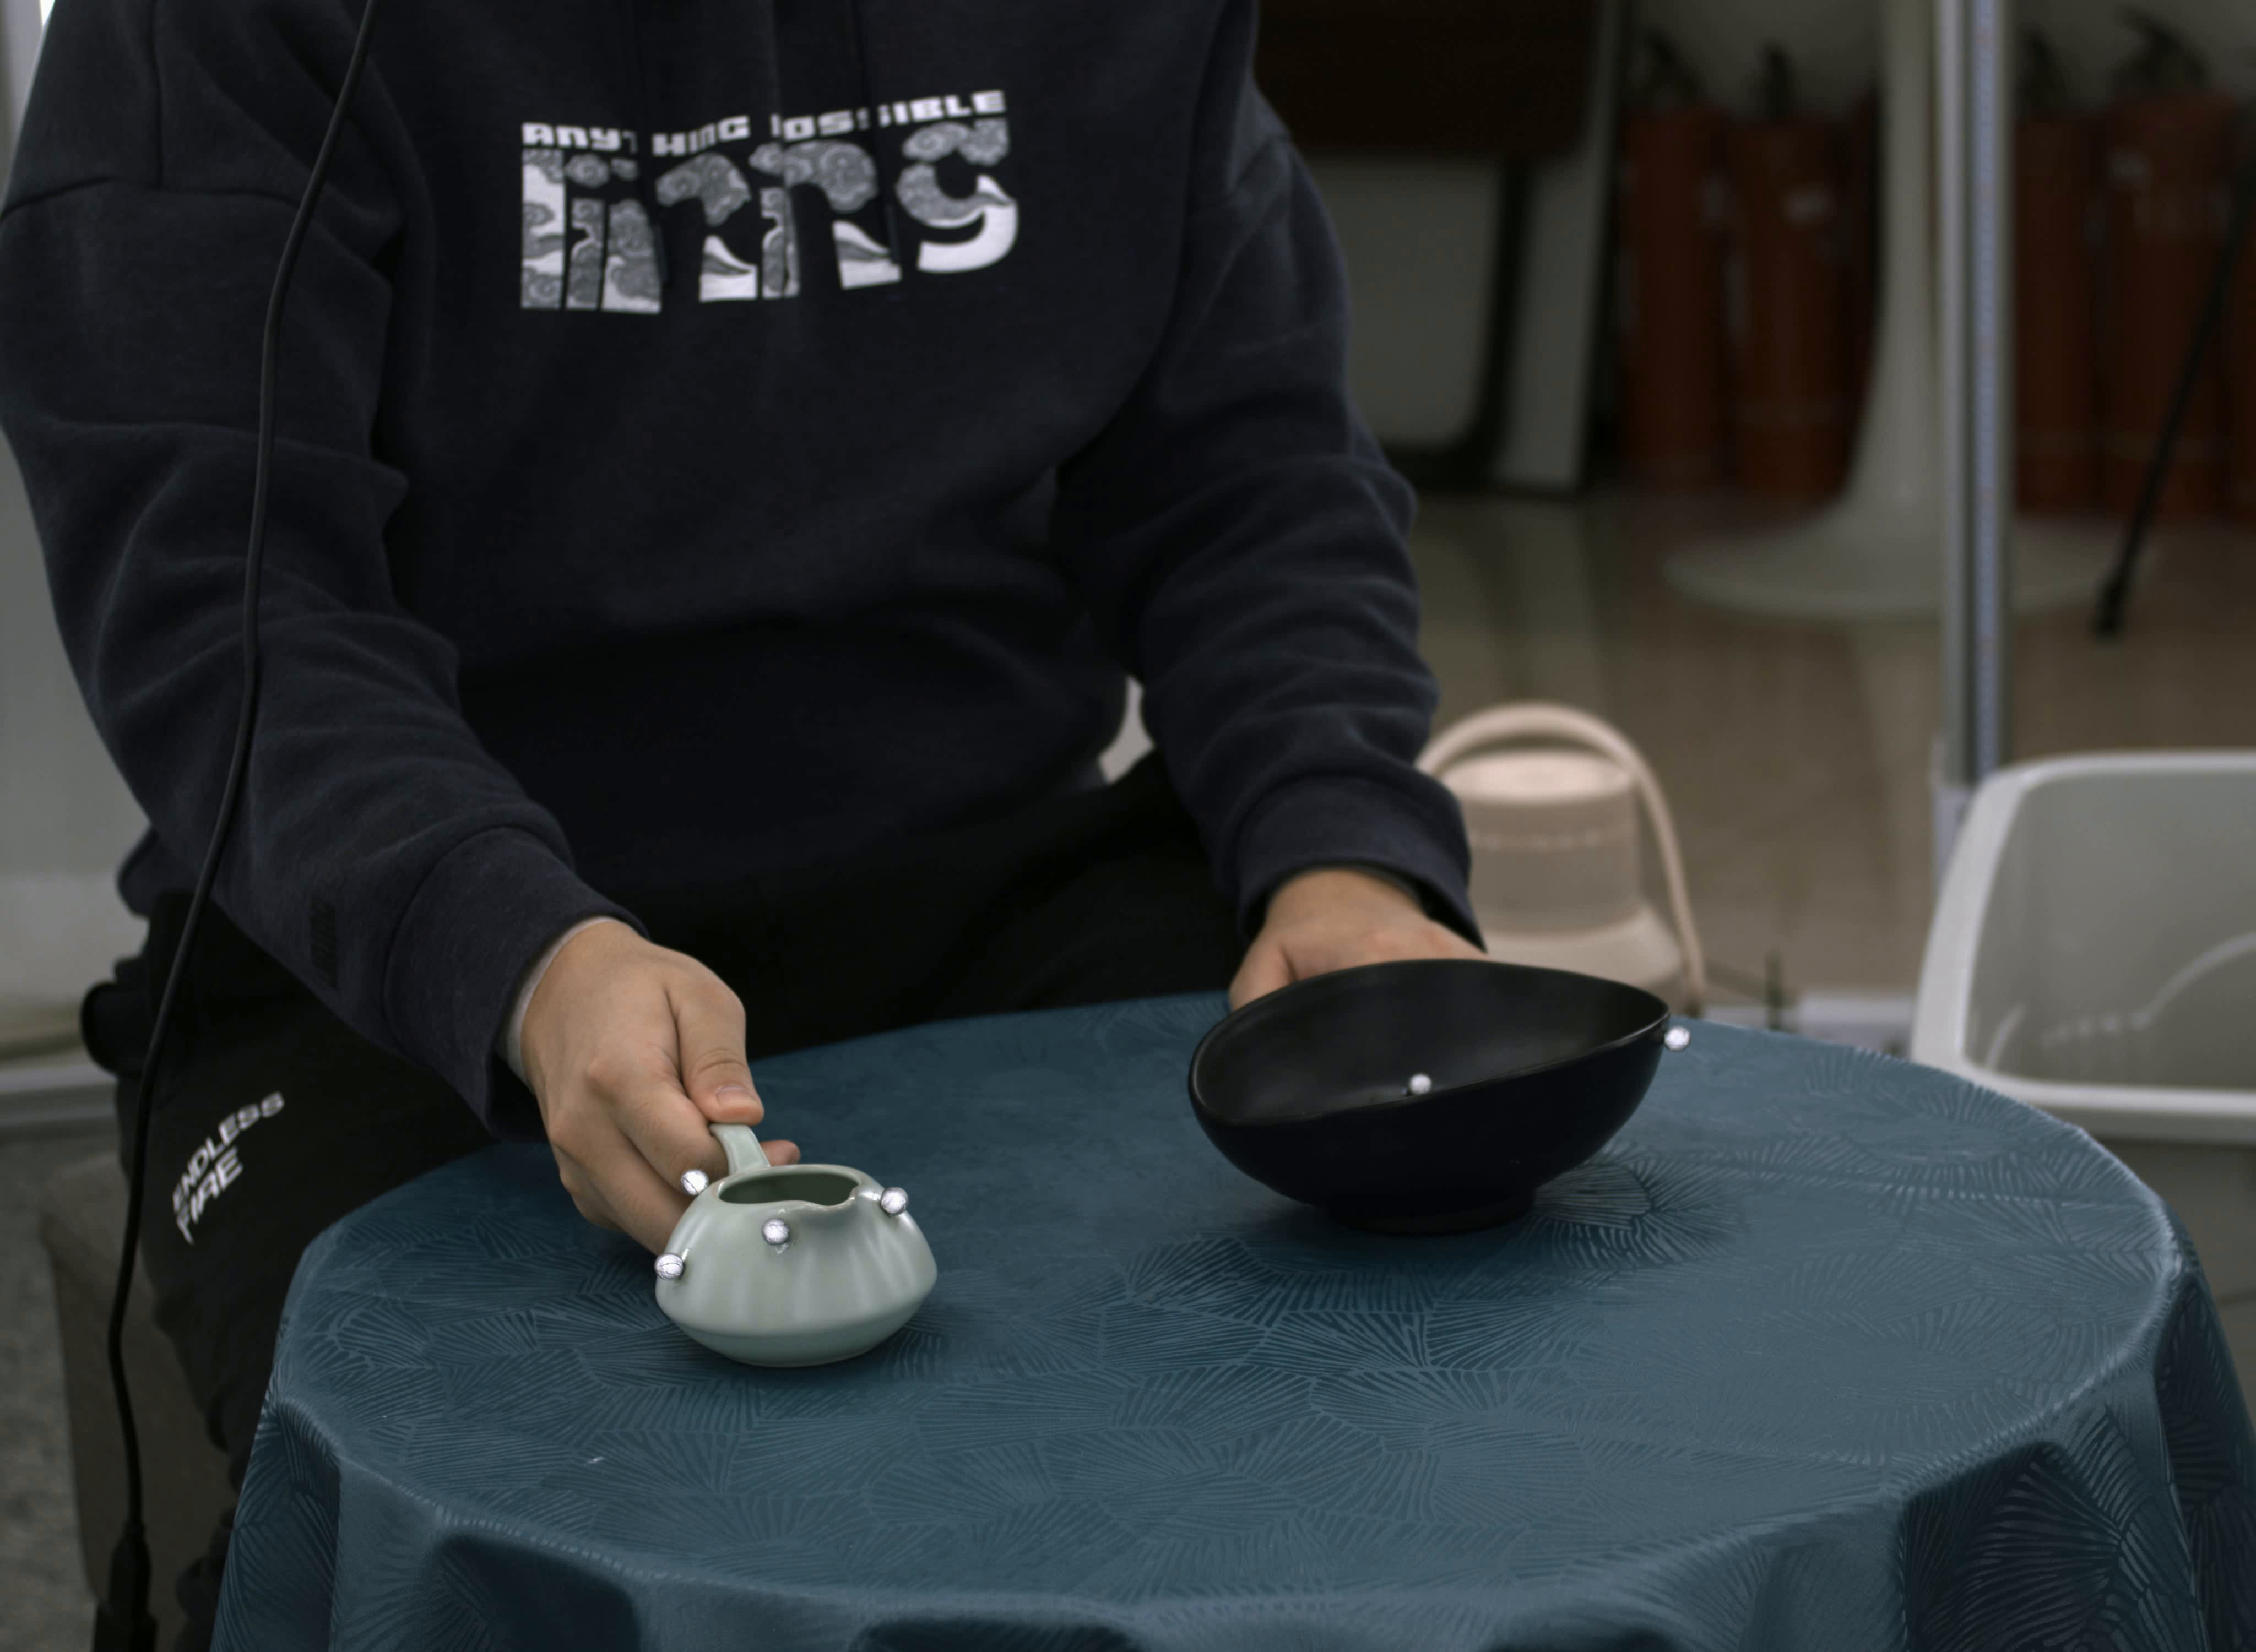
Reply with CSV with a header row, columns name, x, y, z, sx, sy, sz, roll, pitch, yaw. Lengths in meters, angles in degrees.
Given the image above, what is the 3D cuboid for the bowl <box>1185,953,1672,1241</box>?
name,x,y,z,sx,sy,sz,roll,pitch,yaw
bowl,0.099,0.092,1.733,0.166,0.067,0.139,-14,16,-33

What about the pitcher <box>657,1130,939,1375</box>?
name,x,y,z,sx,sy,sz,roll,pitch,yaw
pitcher,-0.106,0.130,1.650,0.084,0.061,0.109,-9,13,-24
